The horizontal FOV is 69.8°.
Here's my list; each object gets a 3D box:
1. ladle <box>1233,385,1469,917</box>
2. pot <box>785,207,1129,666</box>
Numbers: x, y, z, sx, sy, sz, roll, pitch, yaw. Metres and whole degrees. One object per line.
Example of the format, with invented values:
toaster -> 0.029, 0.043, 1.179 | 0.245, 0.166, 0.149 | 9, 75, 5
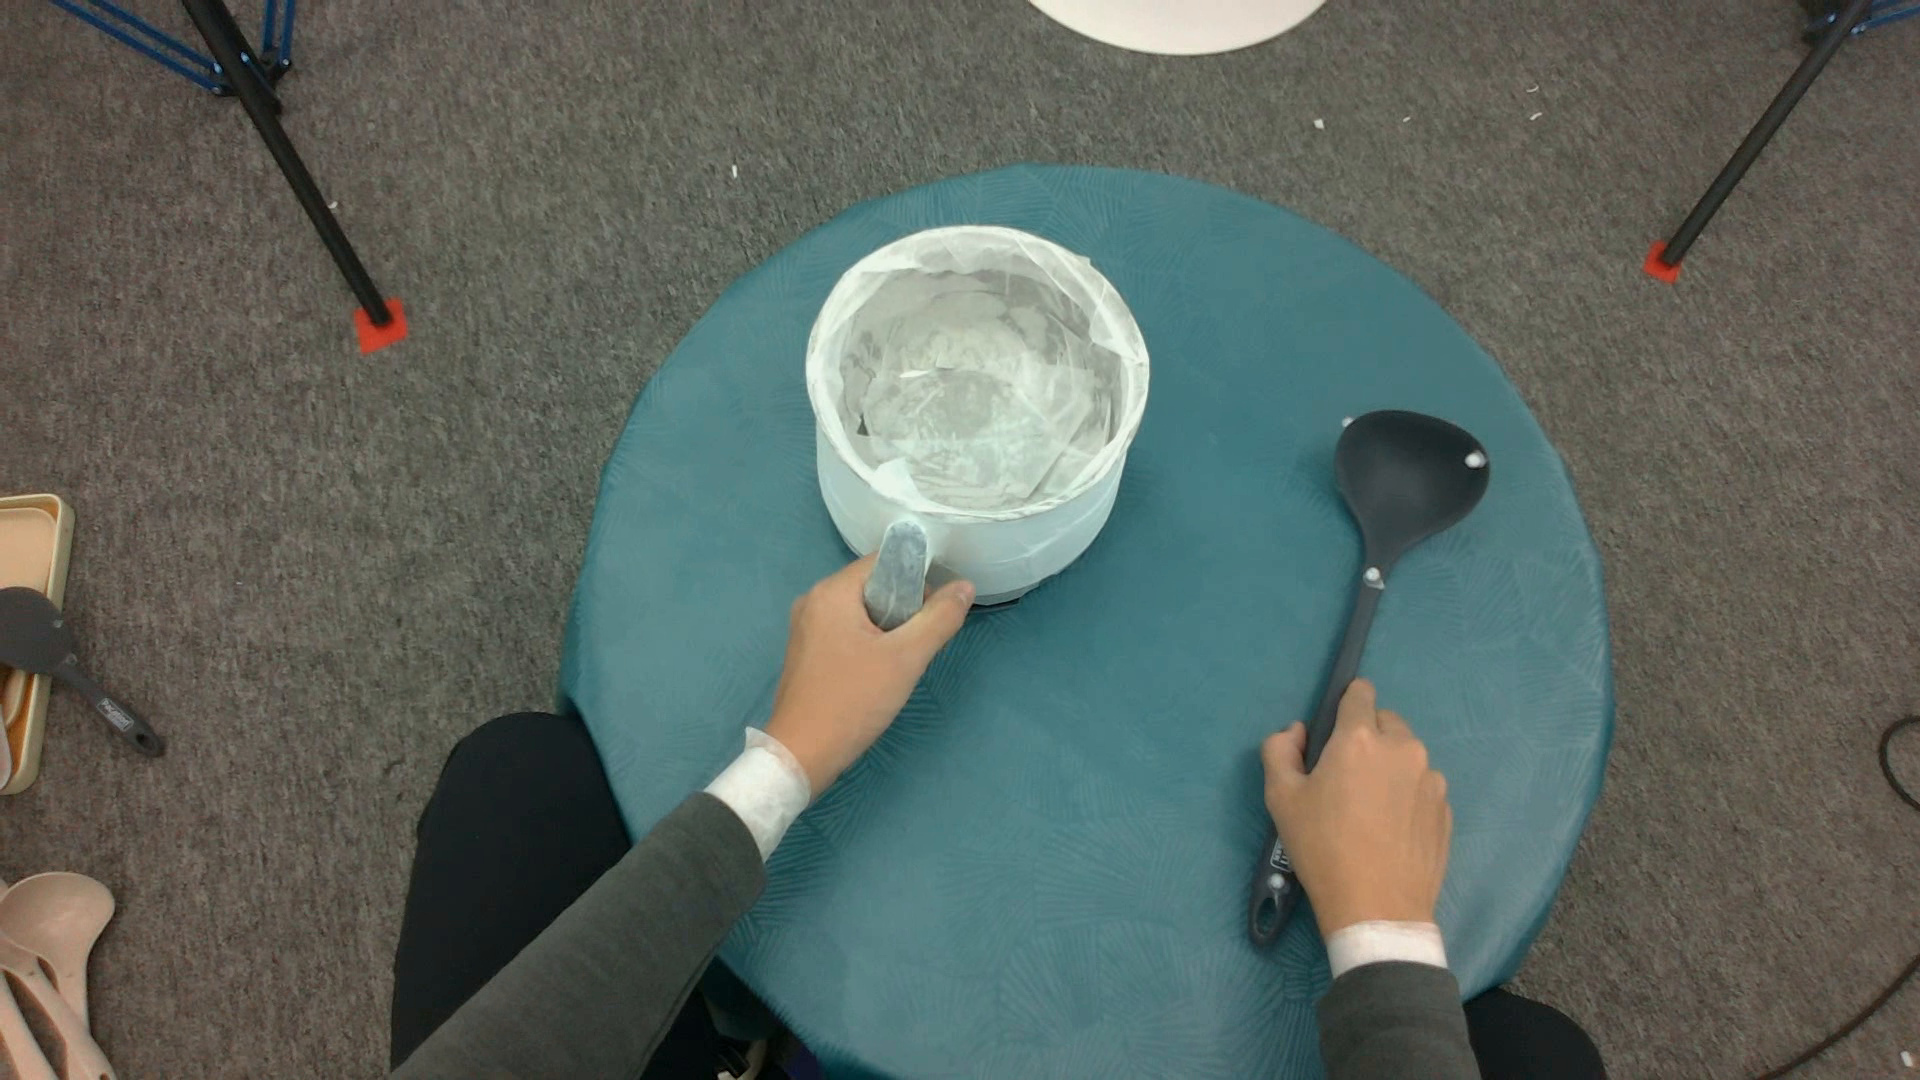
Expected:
ladle -> 0.205, 0.054, 0.761 | 0.086, 0.064, 0.315 | 17, 65, 18
pot -> -0.013, -0.049, 0.753 | 0.178, 0.136, 0.234 | 18, 66, 5
